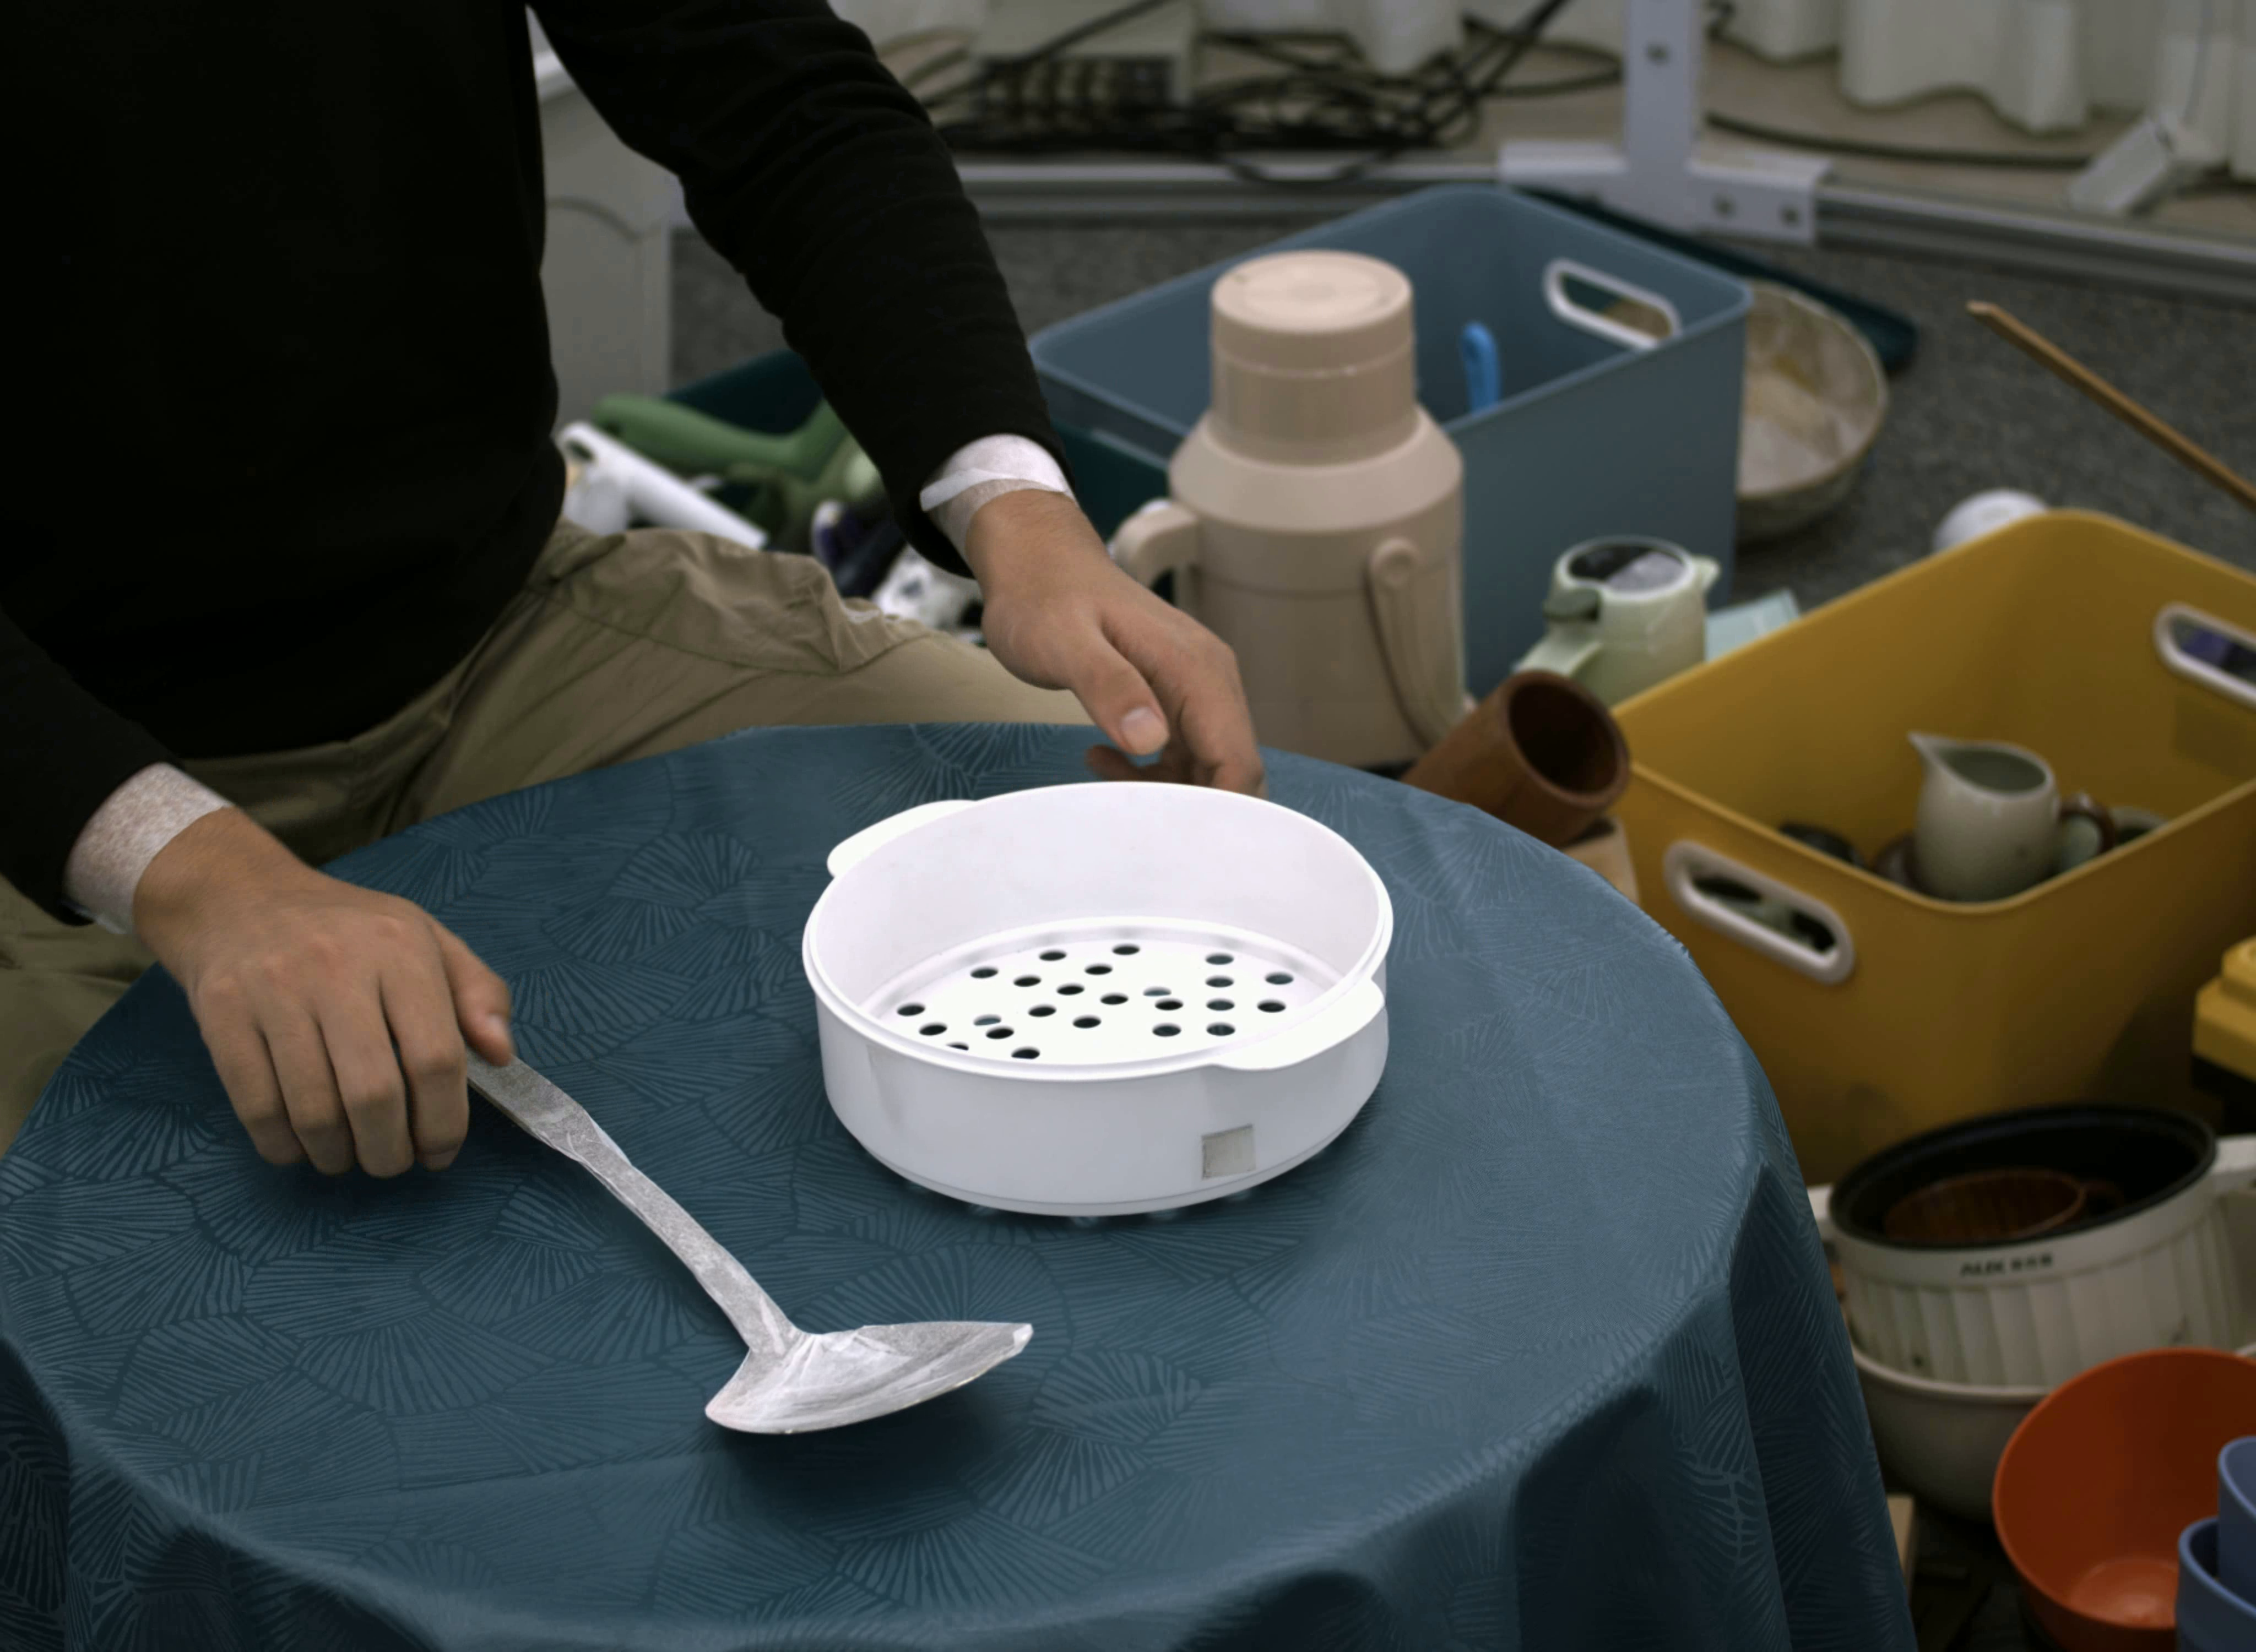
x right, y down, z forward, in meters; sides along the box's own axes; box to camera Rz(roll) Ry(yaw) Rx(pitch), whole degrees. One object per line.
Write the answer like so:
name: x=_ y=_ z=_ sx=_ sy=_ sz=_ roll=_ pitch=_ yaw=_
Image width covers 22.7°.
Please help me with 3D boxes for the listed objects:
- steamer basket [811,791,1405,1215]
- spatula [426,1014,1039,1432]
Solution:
steamer basket: x=-0.006 y=0.060 z=1.905 sx=0.204 sy=0.068 sz=0.230 roll=-24 pitch=33 yaw=-37
spatula: x=-0.153 y=0.121 z=1.837 sx=0.099 sy=0.044 sz=0.366 roll=-20 pitch=32 yaw=-26
